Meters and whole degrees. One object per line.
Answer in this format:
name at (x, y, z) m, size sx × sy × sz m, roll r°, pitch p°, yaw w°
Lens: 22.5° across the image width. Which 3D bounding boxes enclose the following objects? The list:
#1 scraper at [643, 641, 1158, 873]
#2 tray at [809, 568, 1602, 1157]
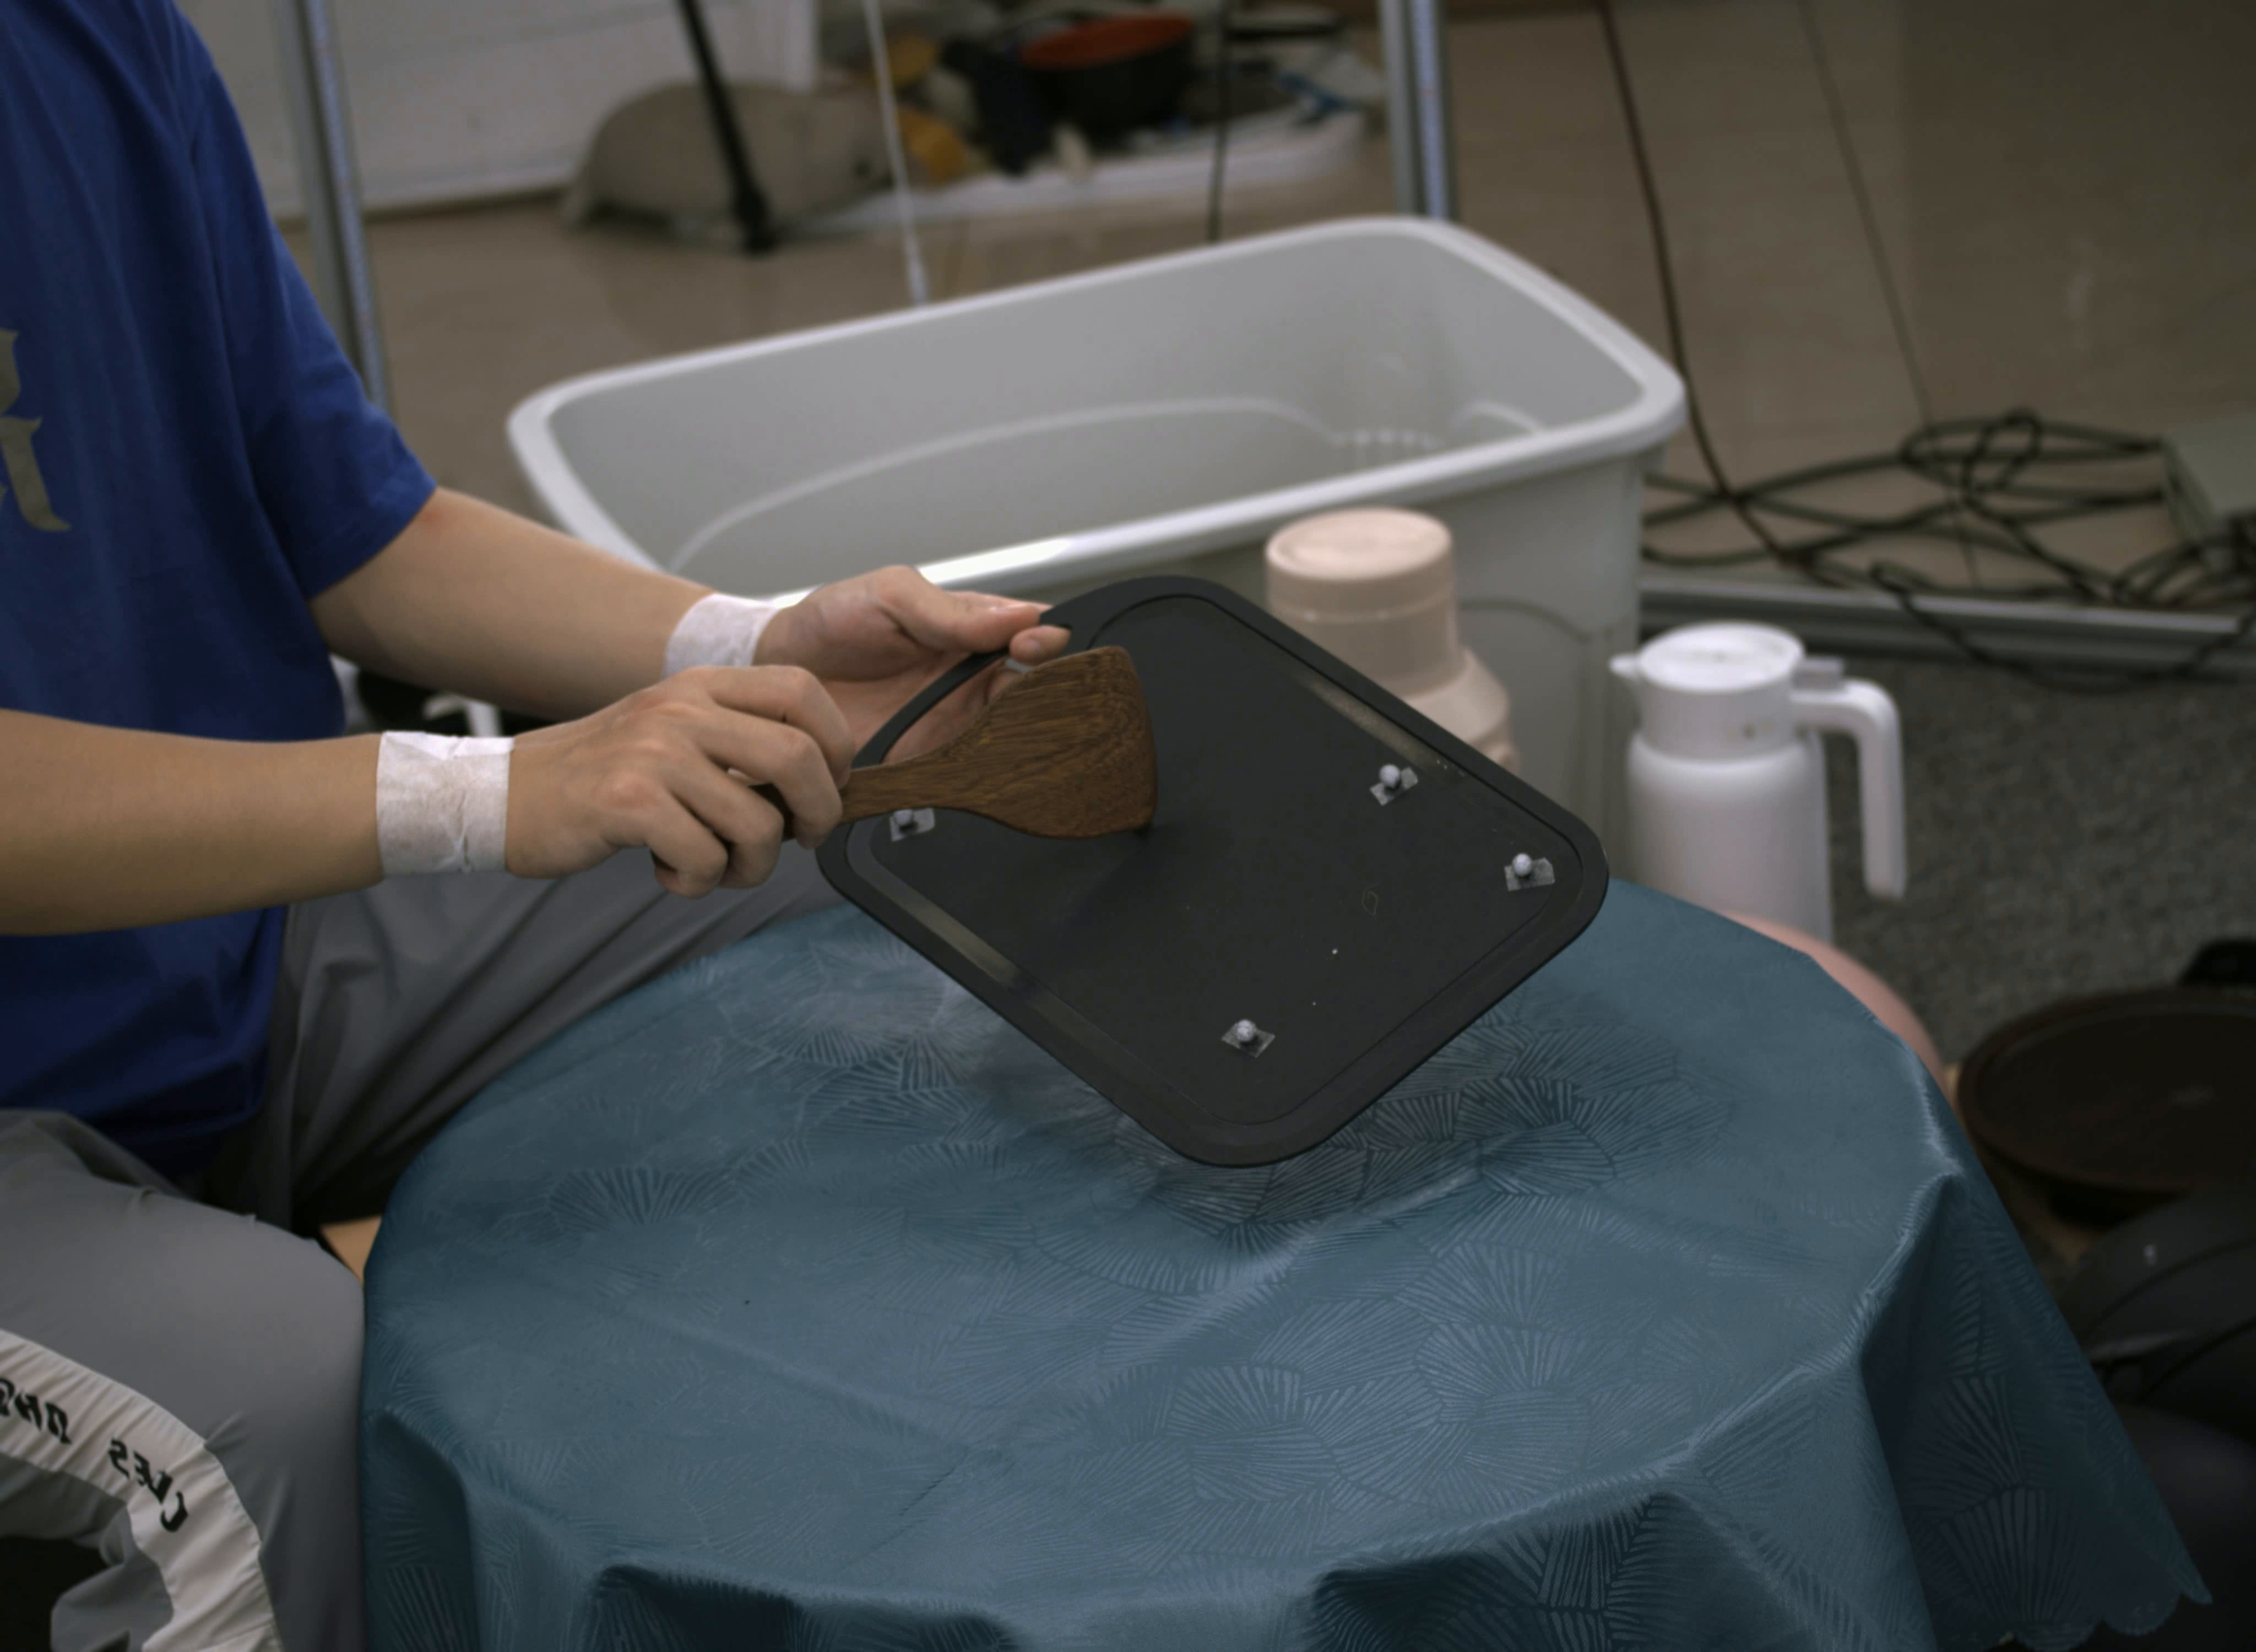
scraper at (-0.086, -0.016, 2.177) m, size 0.210 × 0.076 × 0.011 m, roll -13°, pitch 6°, yaw -20°
tray at (0.020, 0.004, 2.210) m, size 0.210 × 0.010 × 0.321 m, roll -38°, pitch 47°, yaw -17°
